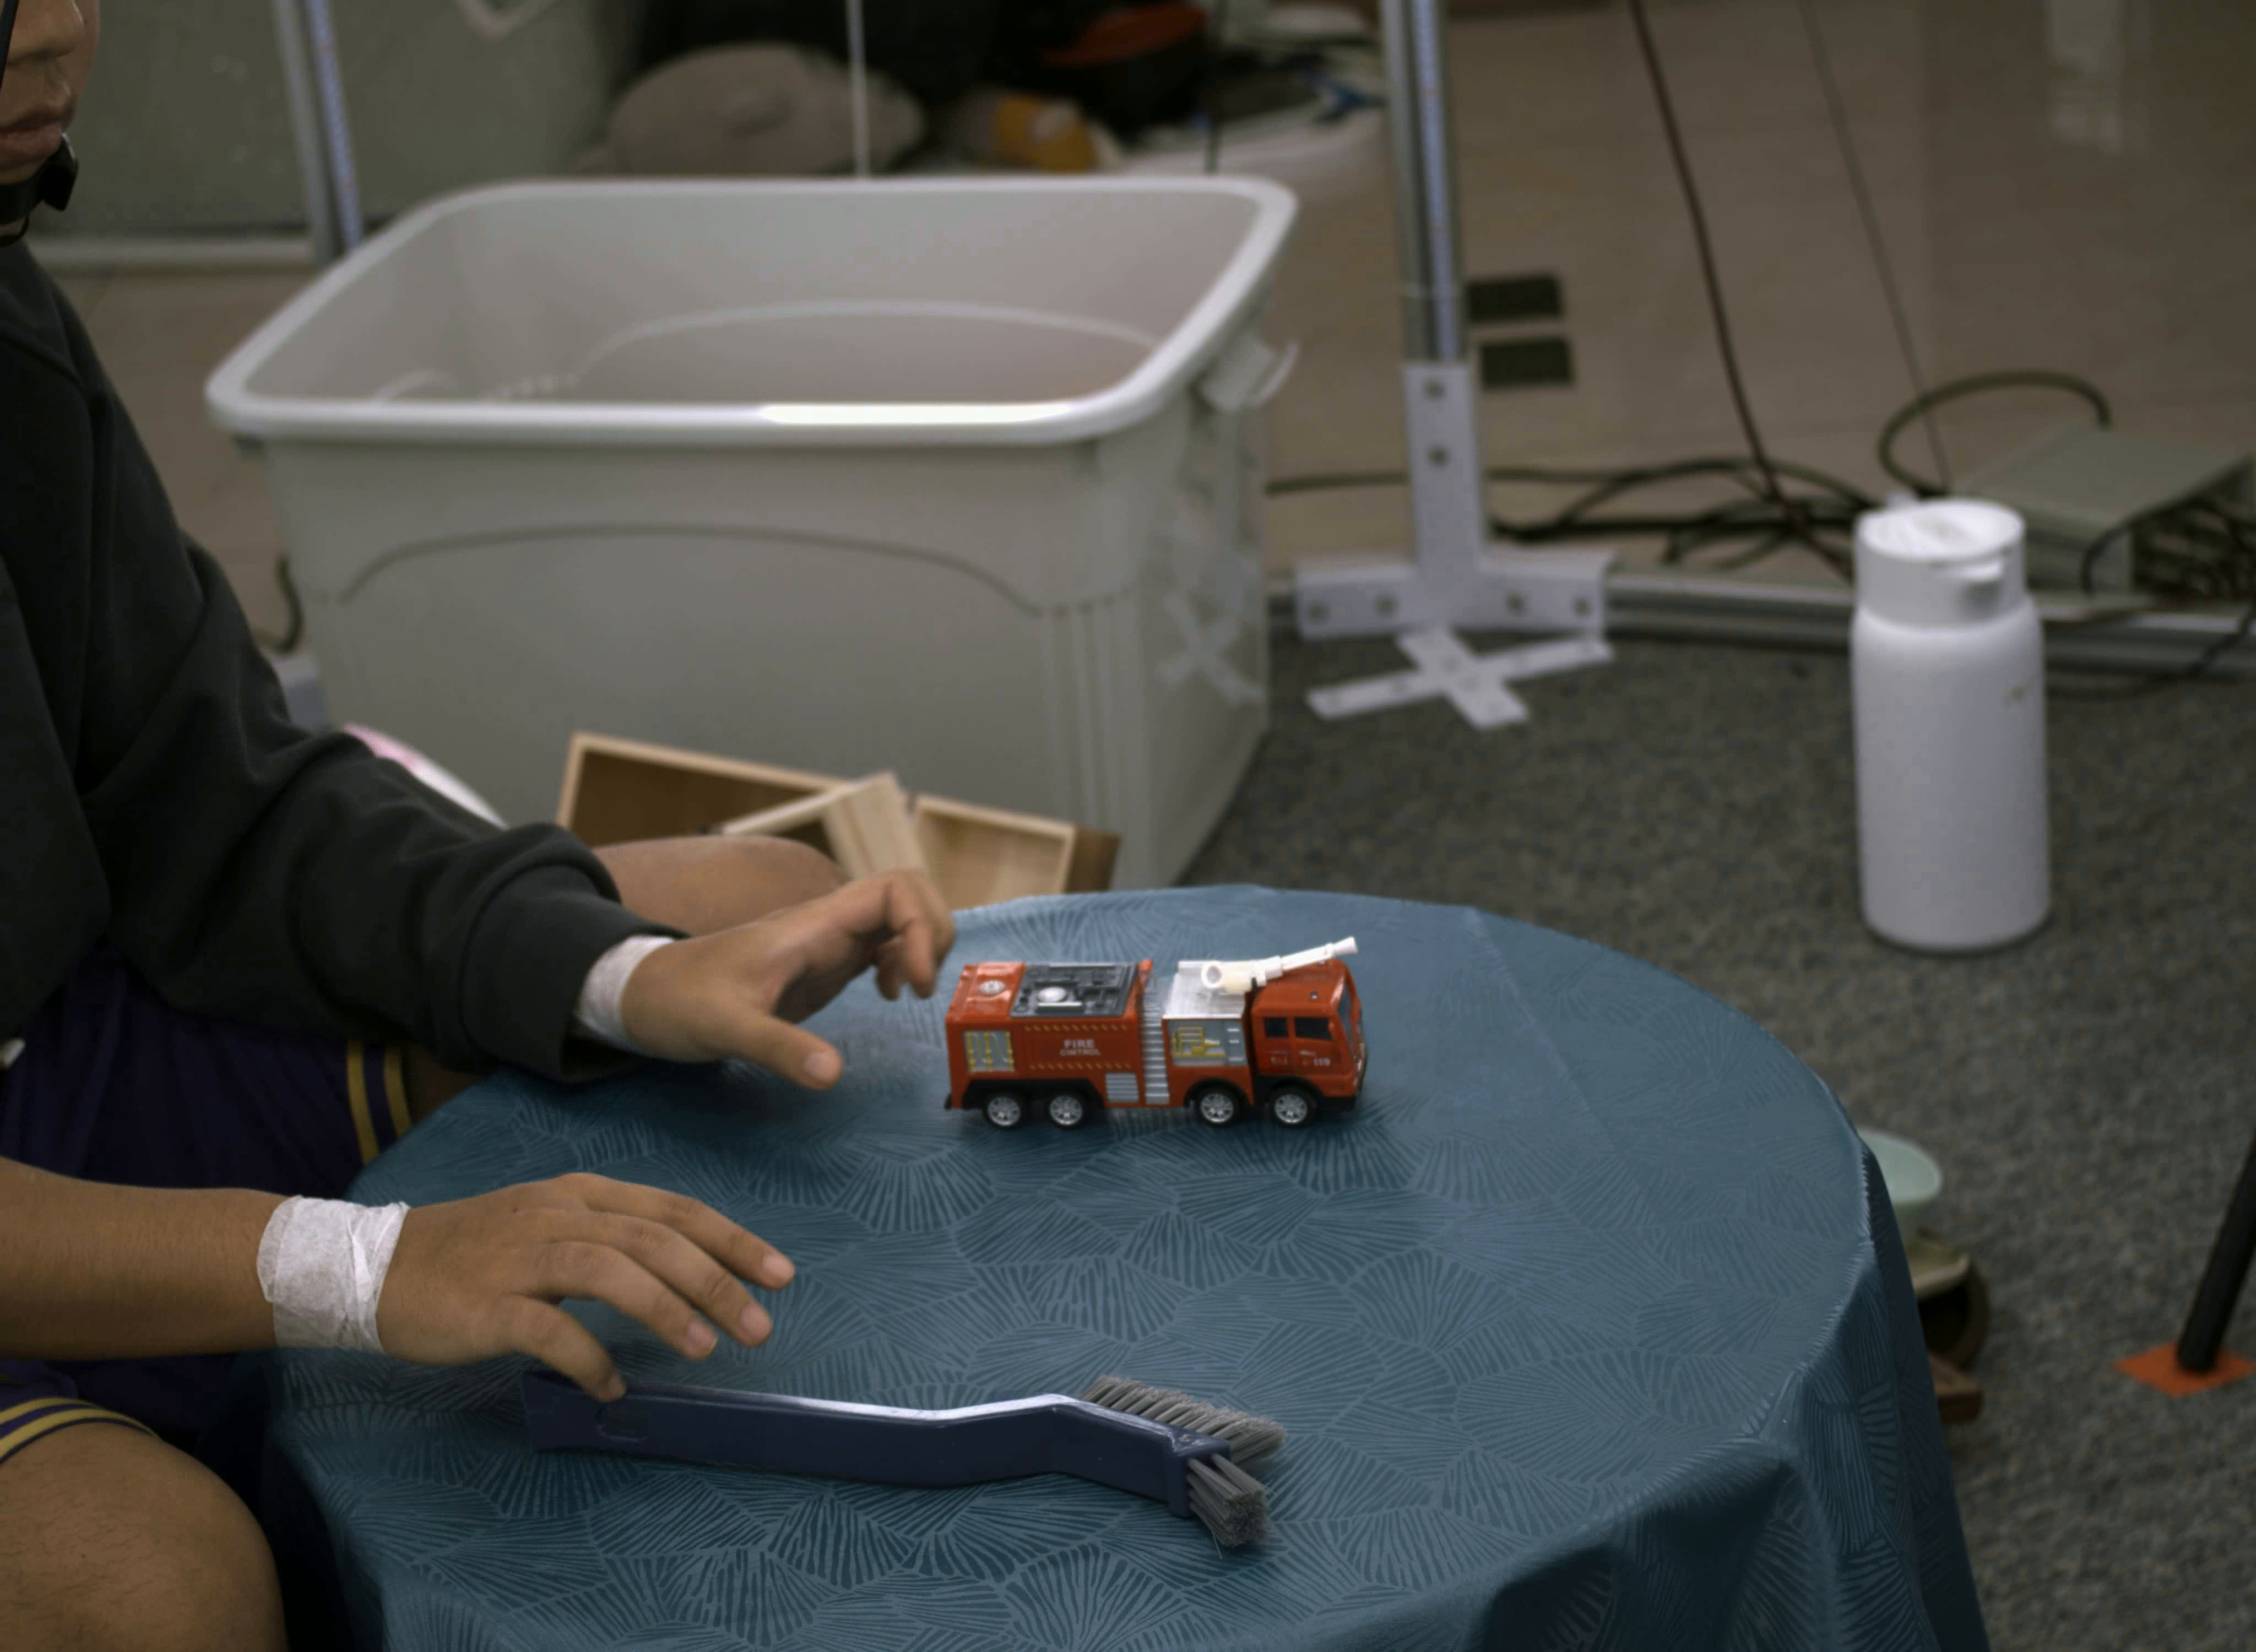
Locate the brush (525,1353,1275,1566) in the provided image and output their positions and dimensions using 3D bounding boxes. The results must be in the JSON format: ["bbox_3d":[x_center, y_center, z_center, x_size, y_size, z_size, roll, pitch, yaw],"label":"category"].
[{"bbox_3d":[-0.085,0.216,1.964,0.272,0.034,0.094,0,25,12],"label":"brush"}]

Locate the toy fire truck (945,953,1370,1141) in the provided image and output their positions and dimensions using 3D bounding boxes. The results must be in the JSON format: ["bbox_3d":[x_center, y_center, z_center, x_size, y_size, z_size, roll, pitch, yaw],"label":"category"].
[{"bbox_3d":[0.012,0.082,2.195,0.167,0.071,0.053,-2,29,12],"label":"toy fire truck"}]
